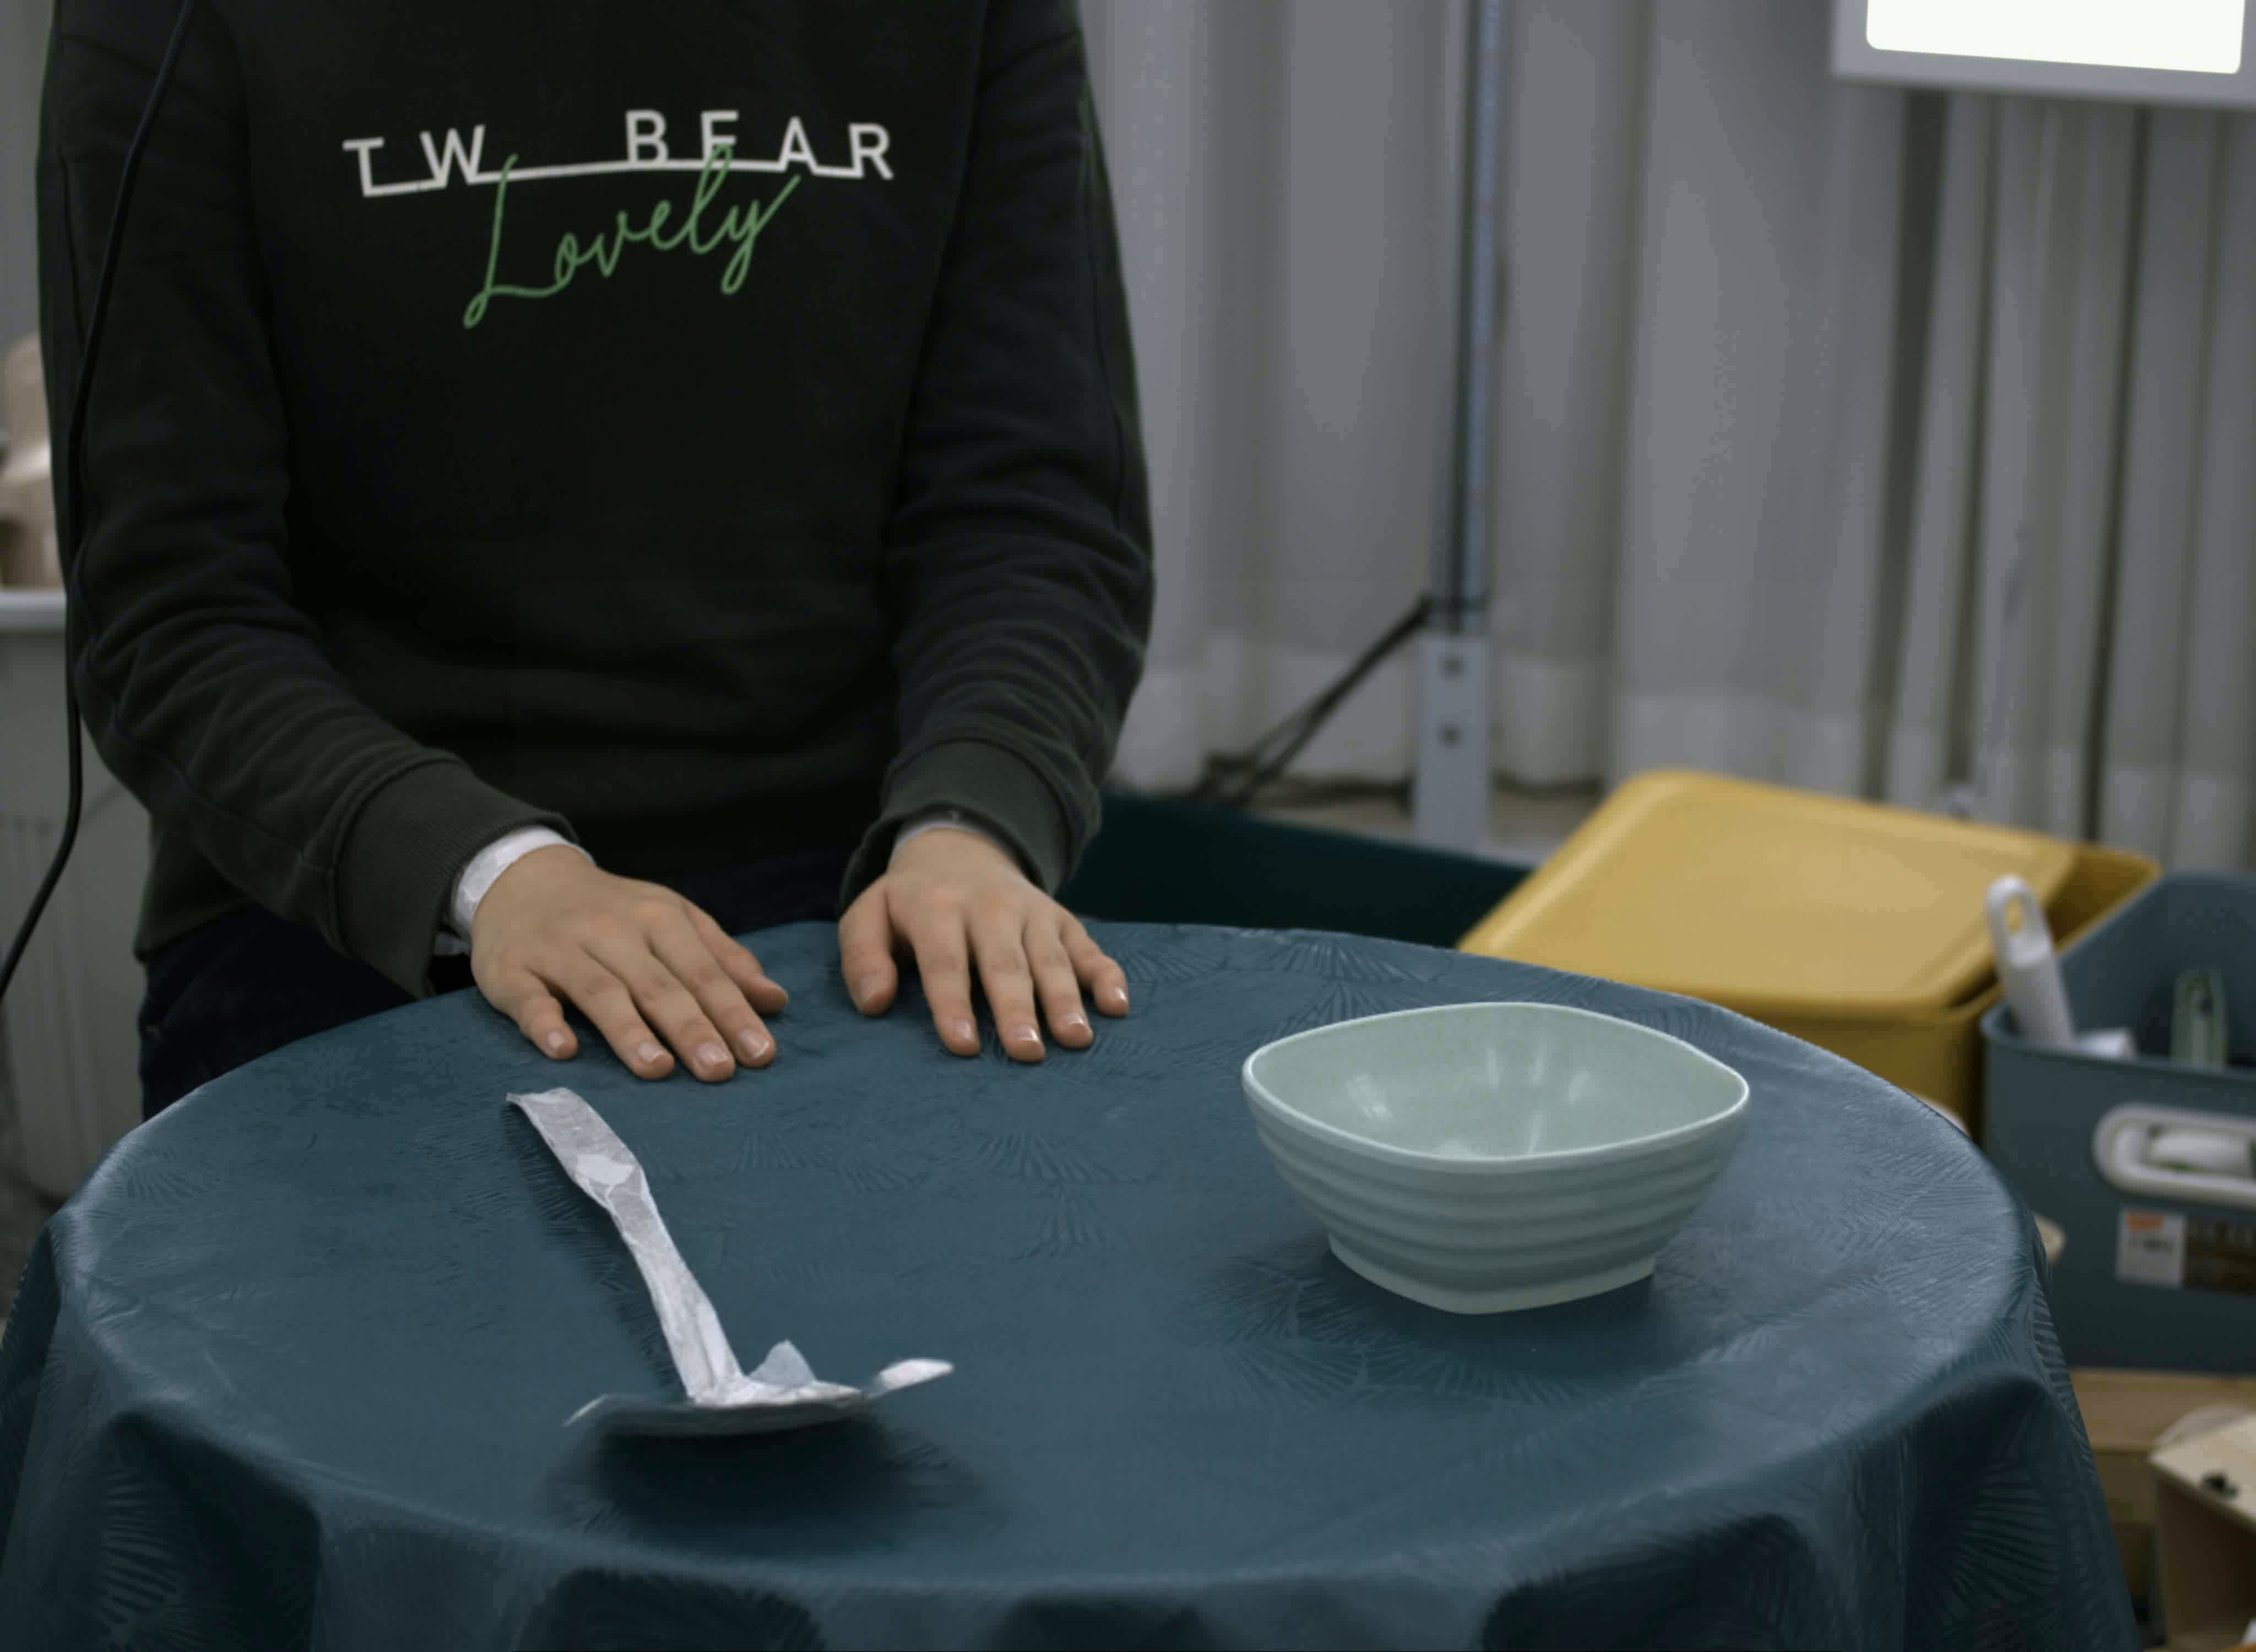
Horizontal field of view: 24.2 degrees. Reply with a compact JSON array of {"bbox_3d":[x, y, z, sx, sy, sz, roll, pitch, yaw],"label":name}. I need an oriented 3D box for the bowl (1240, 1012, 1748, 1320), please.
[{"bbox_3d":[0.106,0.104,1.562,0.151,0.059,0.150,3,15,0],"label":"bowl"}]

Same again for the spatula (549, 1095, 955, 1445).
[{"bbox_3d":[-0.134,0.119,1.526,0.099,0.045,0.361,-6,17,-14],"label":"spatula"}]
